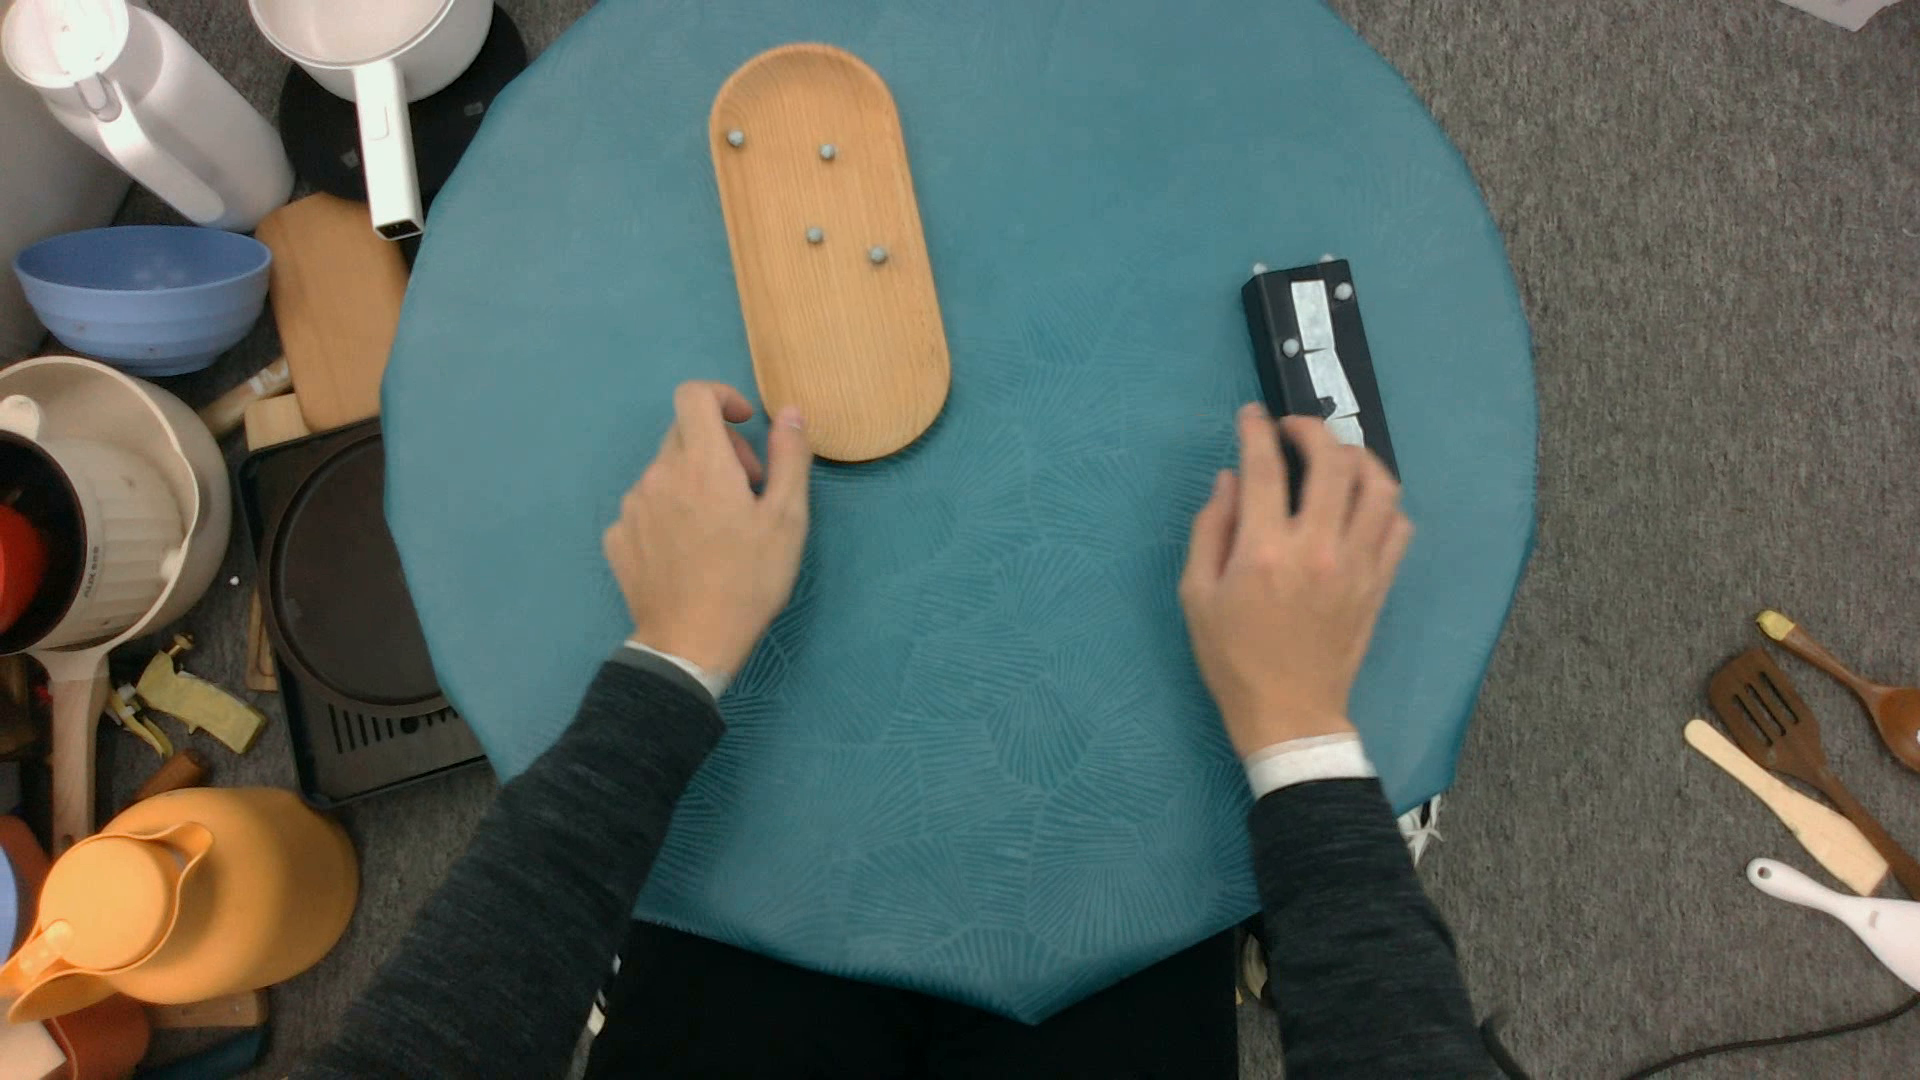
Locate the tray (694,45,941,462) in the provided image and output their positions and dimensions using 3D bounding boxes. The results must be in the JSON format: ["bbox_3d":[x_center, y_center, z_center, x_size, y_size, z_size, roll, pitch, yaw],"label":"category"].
[{"bbox_3d":[-0.075,-0.152,0.723,0.102,0.020,0.231,-13,82,-3],"label":"tray"}]

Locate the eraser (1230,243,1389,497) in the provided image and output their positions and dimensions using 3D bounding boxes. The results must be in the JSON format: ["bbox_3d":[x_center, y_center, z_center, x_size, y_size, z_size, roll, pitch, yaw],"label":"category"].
[{"bbox_3d":[0.179,-0.087,0.713,0.053,0.030,0.125,-12,81,-1],"label":"eraser"}]
